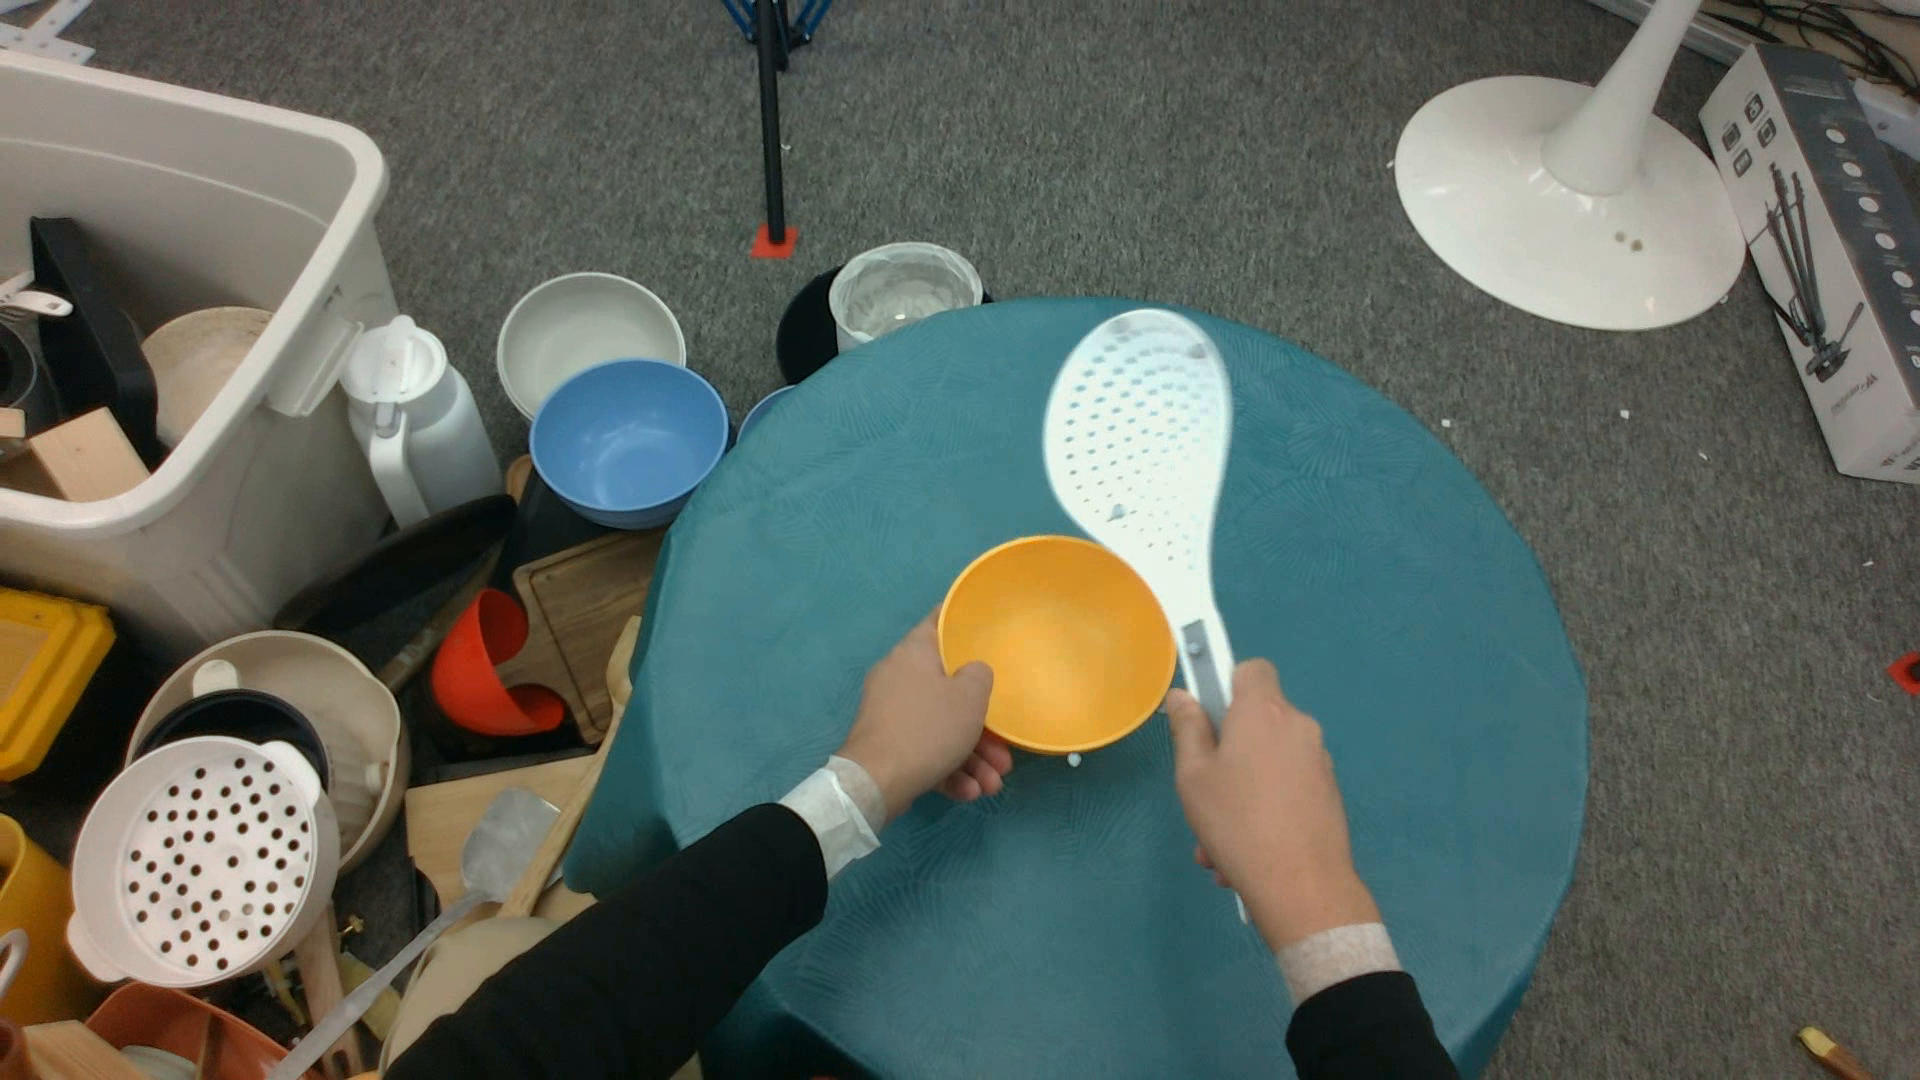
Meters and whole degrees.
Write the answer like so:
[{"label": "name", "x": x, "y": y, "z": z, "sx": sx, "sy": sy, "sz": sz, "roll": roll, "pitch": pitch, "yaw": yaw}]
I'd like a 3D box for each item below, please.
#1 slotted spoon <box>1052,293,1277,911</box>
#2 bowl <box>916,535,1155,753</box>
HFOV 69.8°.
[{"label": "slotted spoon", "x": 0.125, "y": 0.024, "z": 0.758, "sx": 0.046, "sy": 0.135, "sz": 0.351, "roll": 20, "pitch": 55, "yaw": -43}, {"label": "bowl", "x": 0.045, "y": 0.072, "z": 0.847, "sx": 0.145, "sy": 0.060, "sz": 0.146, "roll": 0, "pitch": 59, "yaw": 0}]
